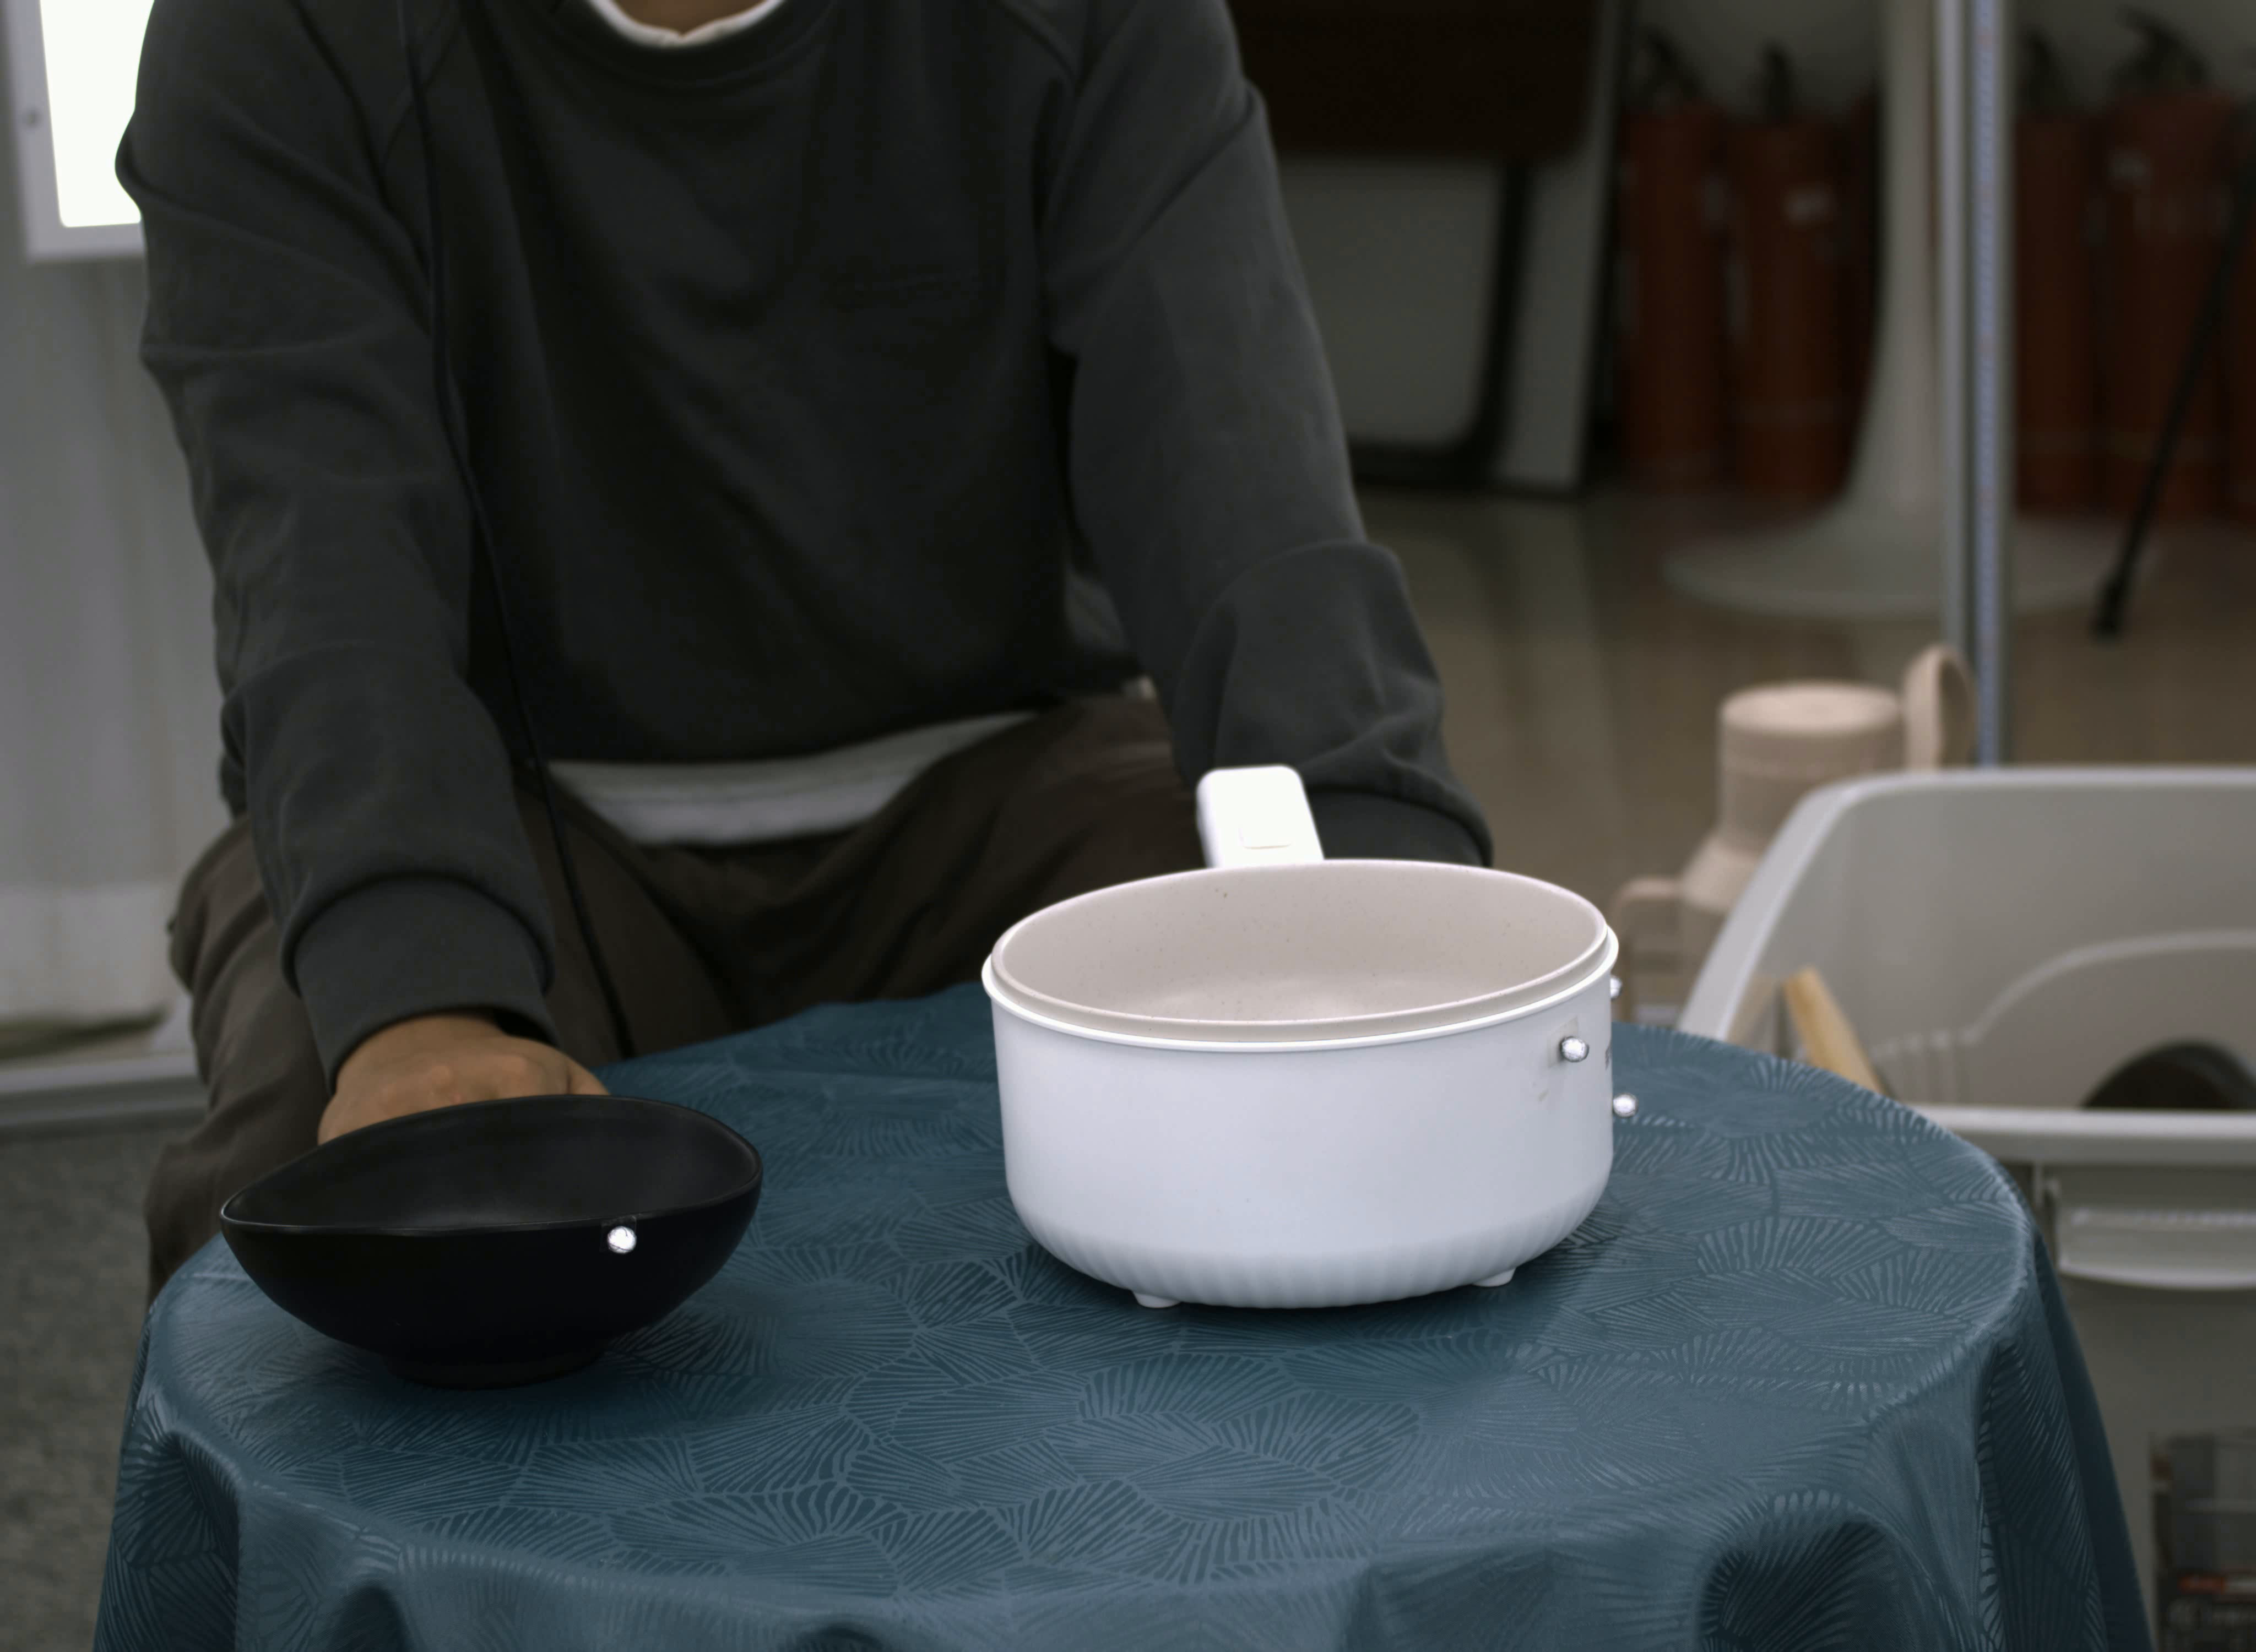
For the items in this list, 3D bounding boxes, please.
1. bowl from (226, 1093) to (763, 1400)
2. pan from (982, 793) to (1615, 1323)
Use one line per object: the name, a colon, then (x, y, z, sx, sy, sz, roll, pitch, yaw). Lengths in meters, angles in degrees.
bowl: (-0.191, 0.133, 1.645, 0.169, 0.067, 0.137, -3, 13, 12)
pan: (0.054, 0.071, 1.776, 0.198, 0.103, 0.355, -6, 12, -1)
